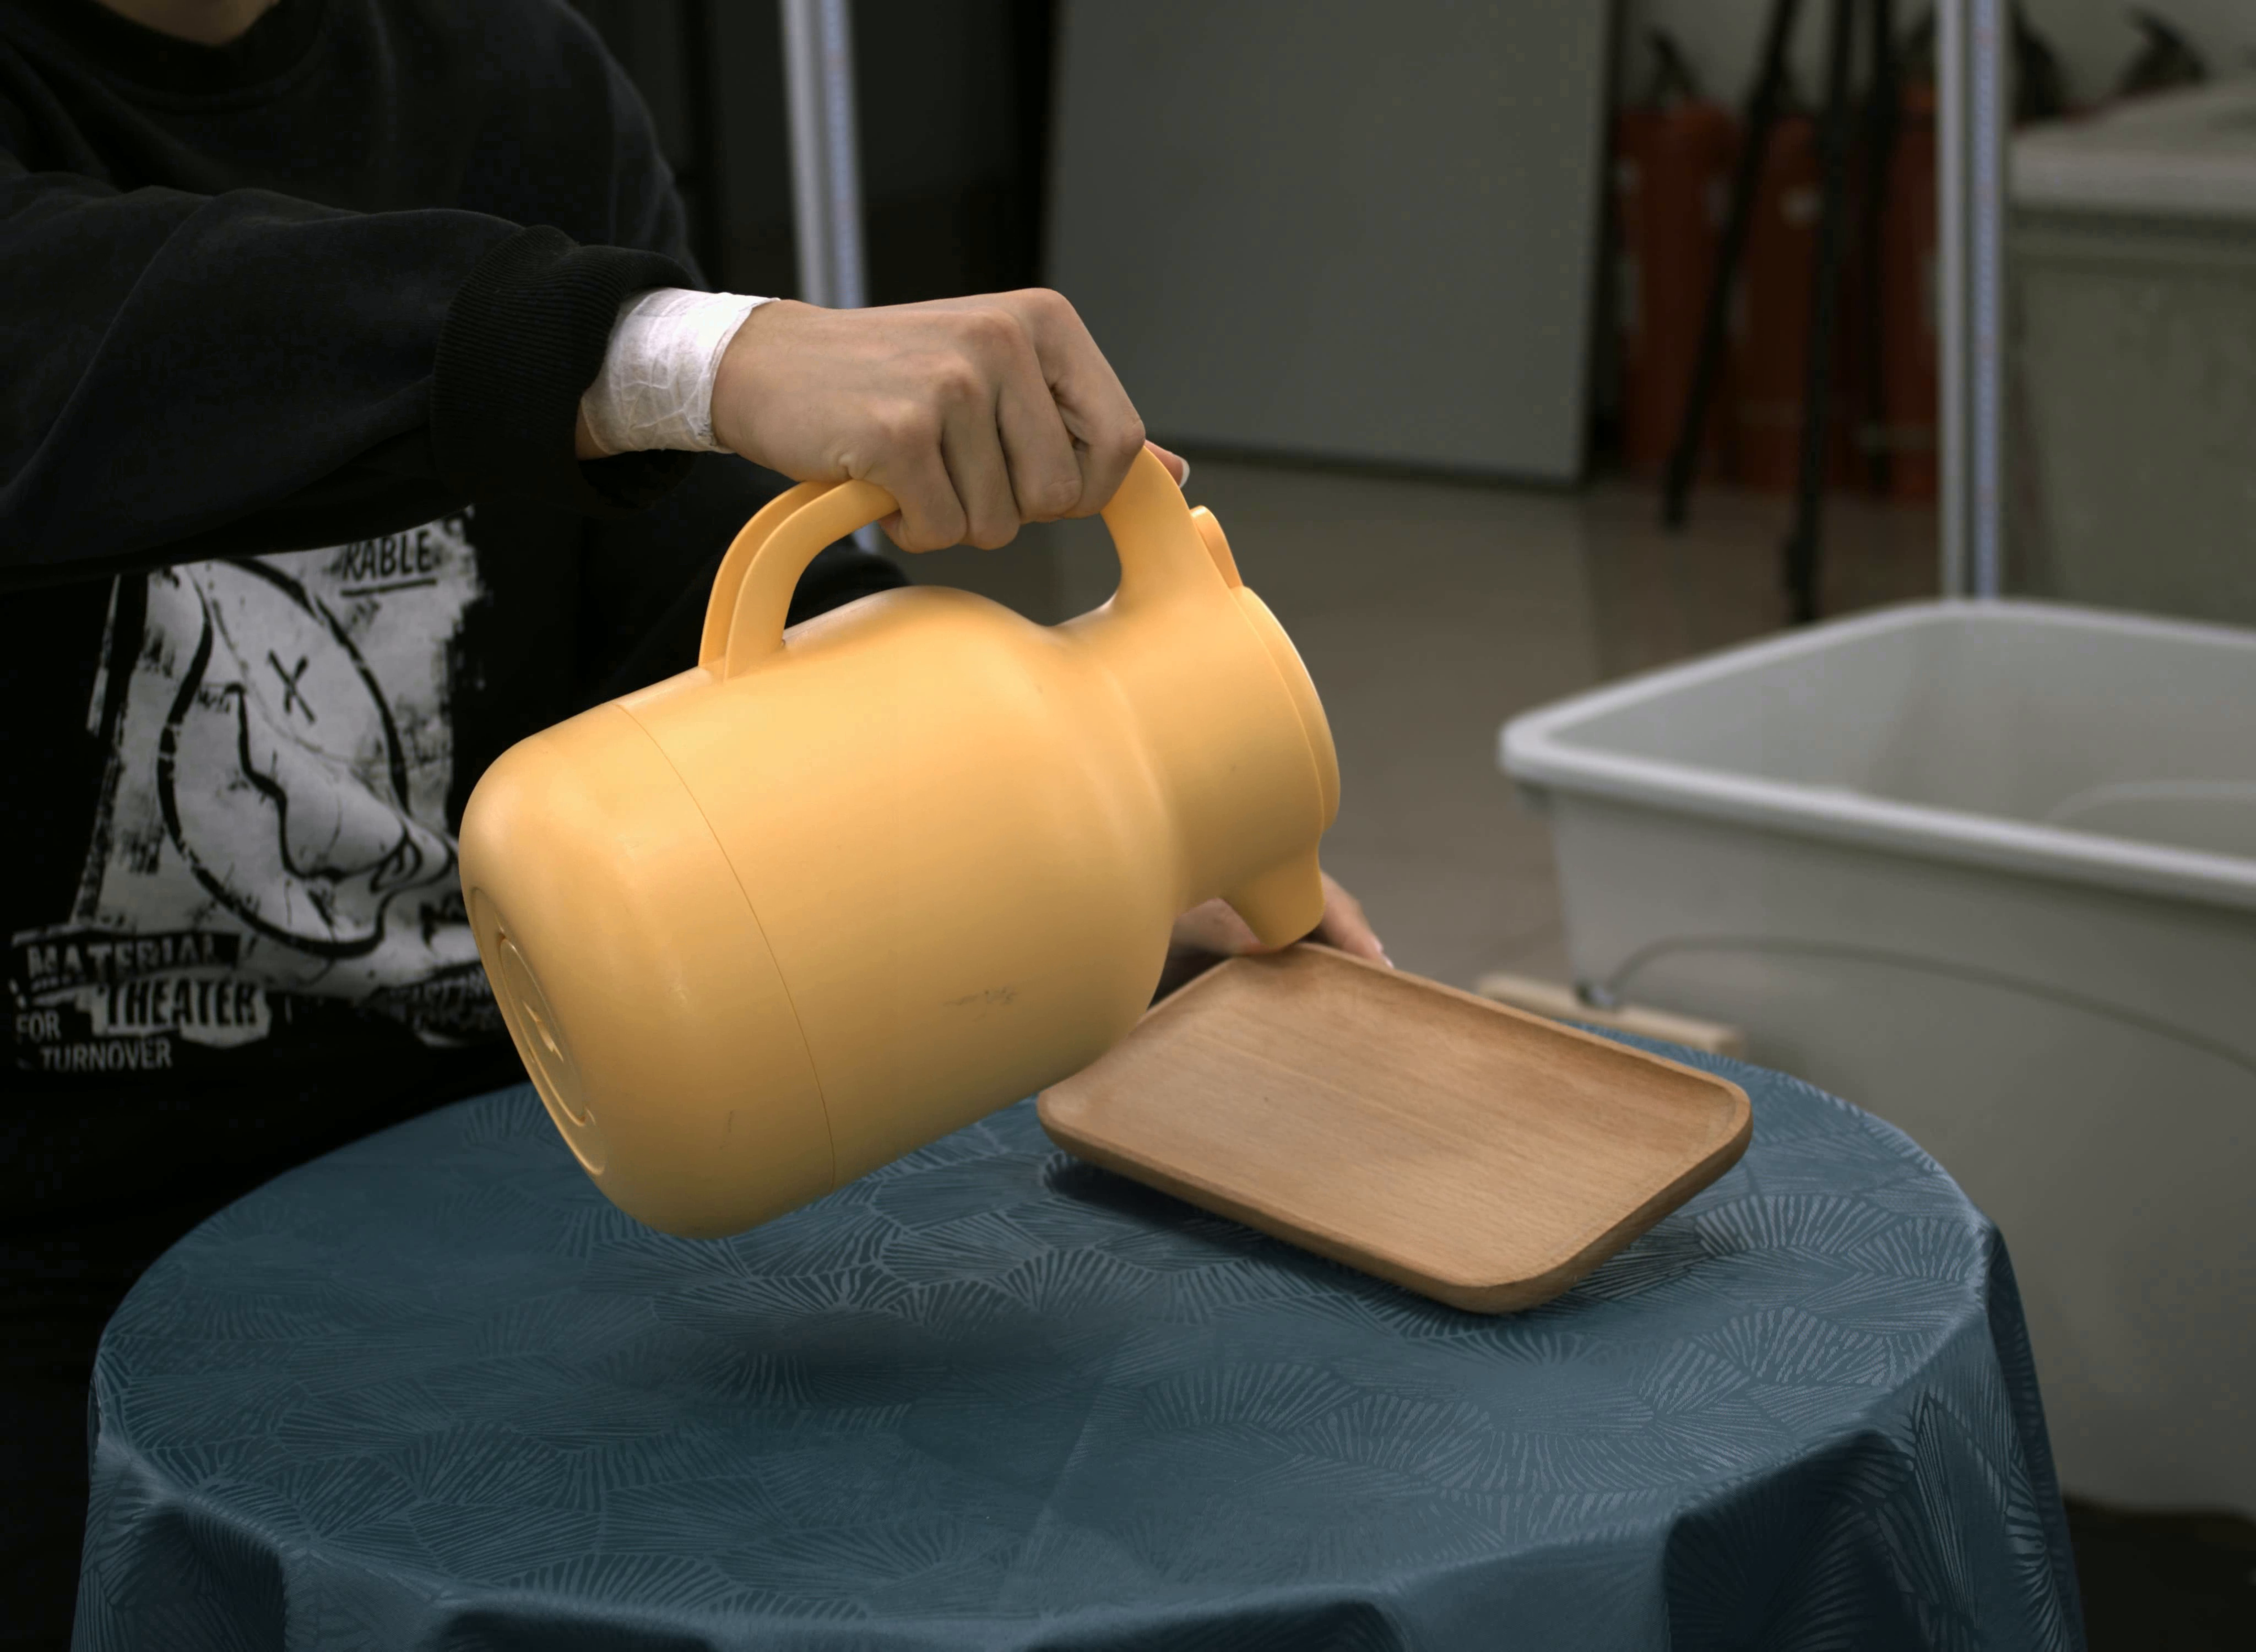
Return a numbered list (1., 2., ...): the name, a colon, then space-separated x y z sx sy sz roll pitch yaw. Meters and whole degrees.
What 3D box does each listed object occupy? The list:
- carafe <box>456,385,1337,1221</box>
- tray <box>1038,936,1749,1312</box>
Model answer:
1. carafe: -0.071 -0.014 1.630 0.256 0.204 0.165 -22 13 -17
2. tray: 0.083 0.094 1.737 0.128 0.023 0.253 -30 27 -28
